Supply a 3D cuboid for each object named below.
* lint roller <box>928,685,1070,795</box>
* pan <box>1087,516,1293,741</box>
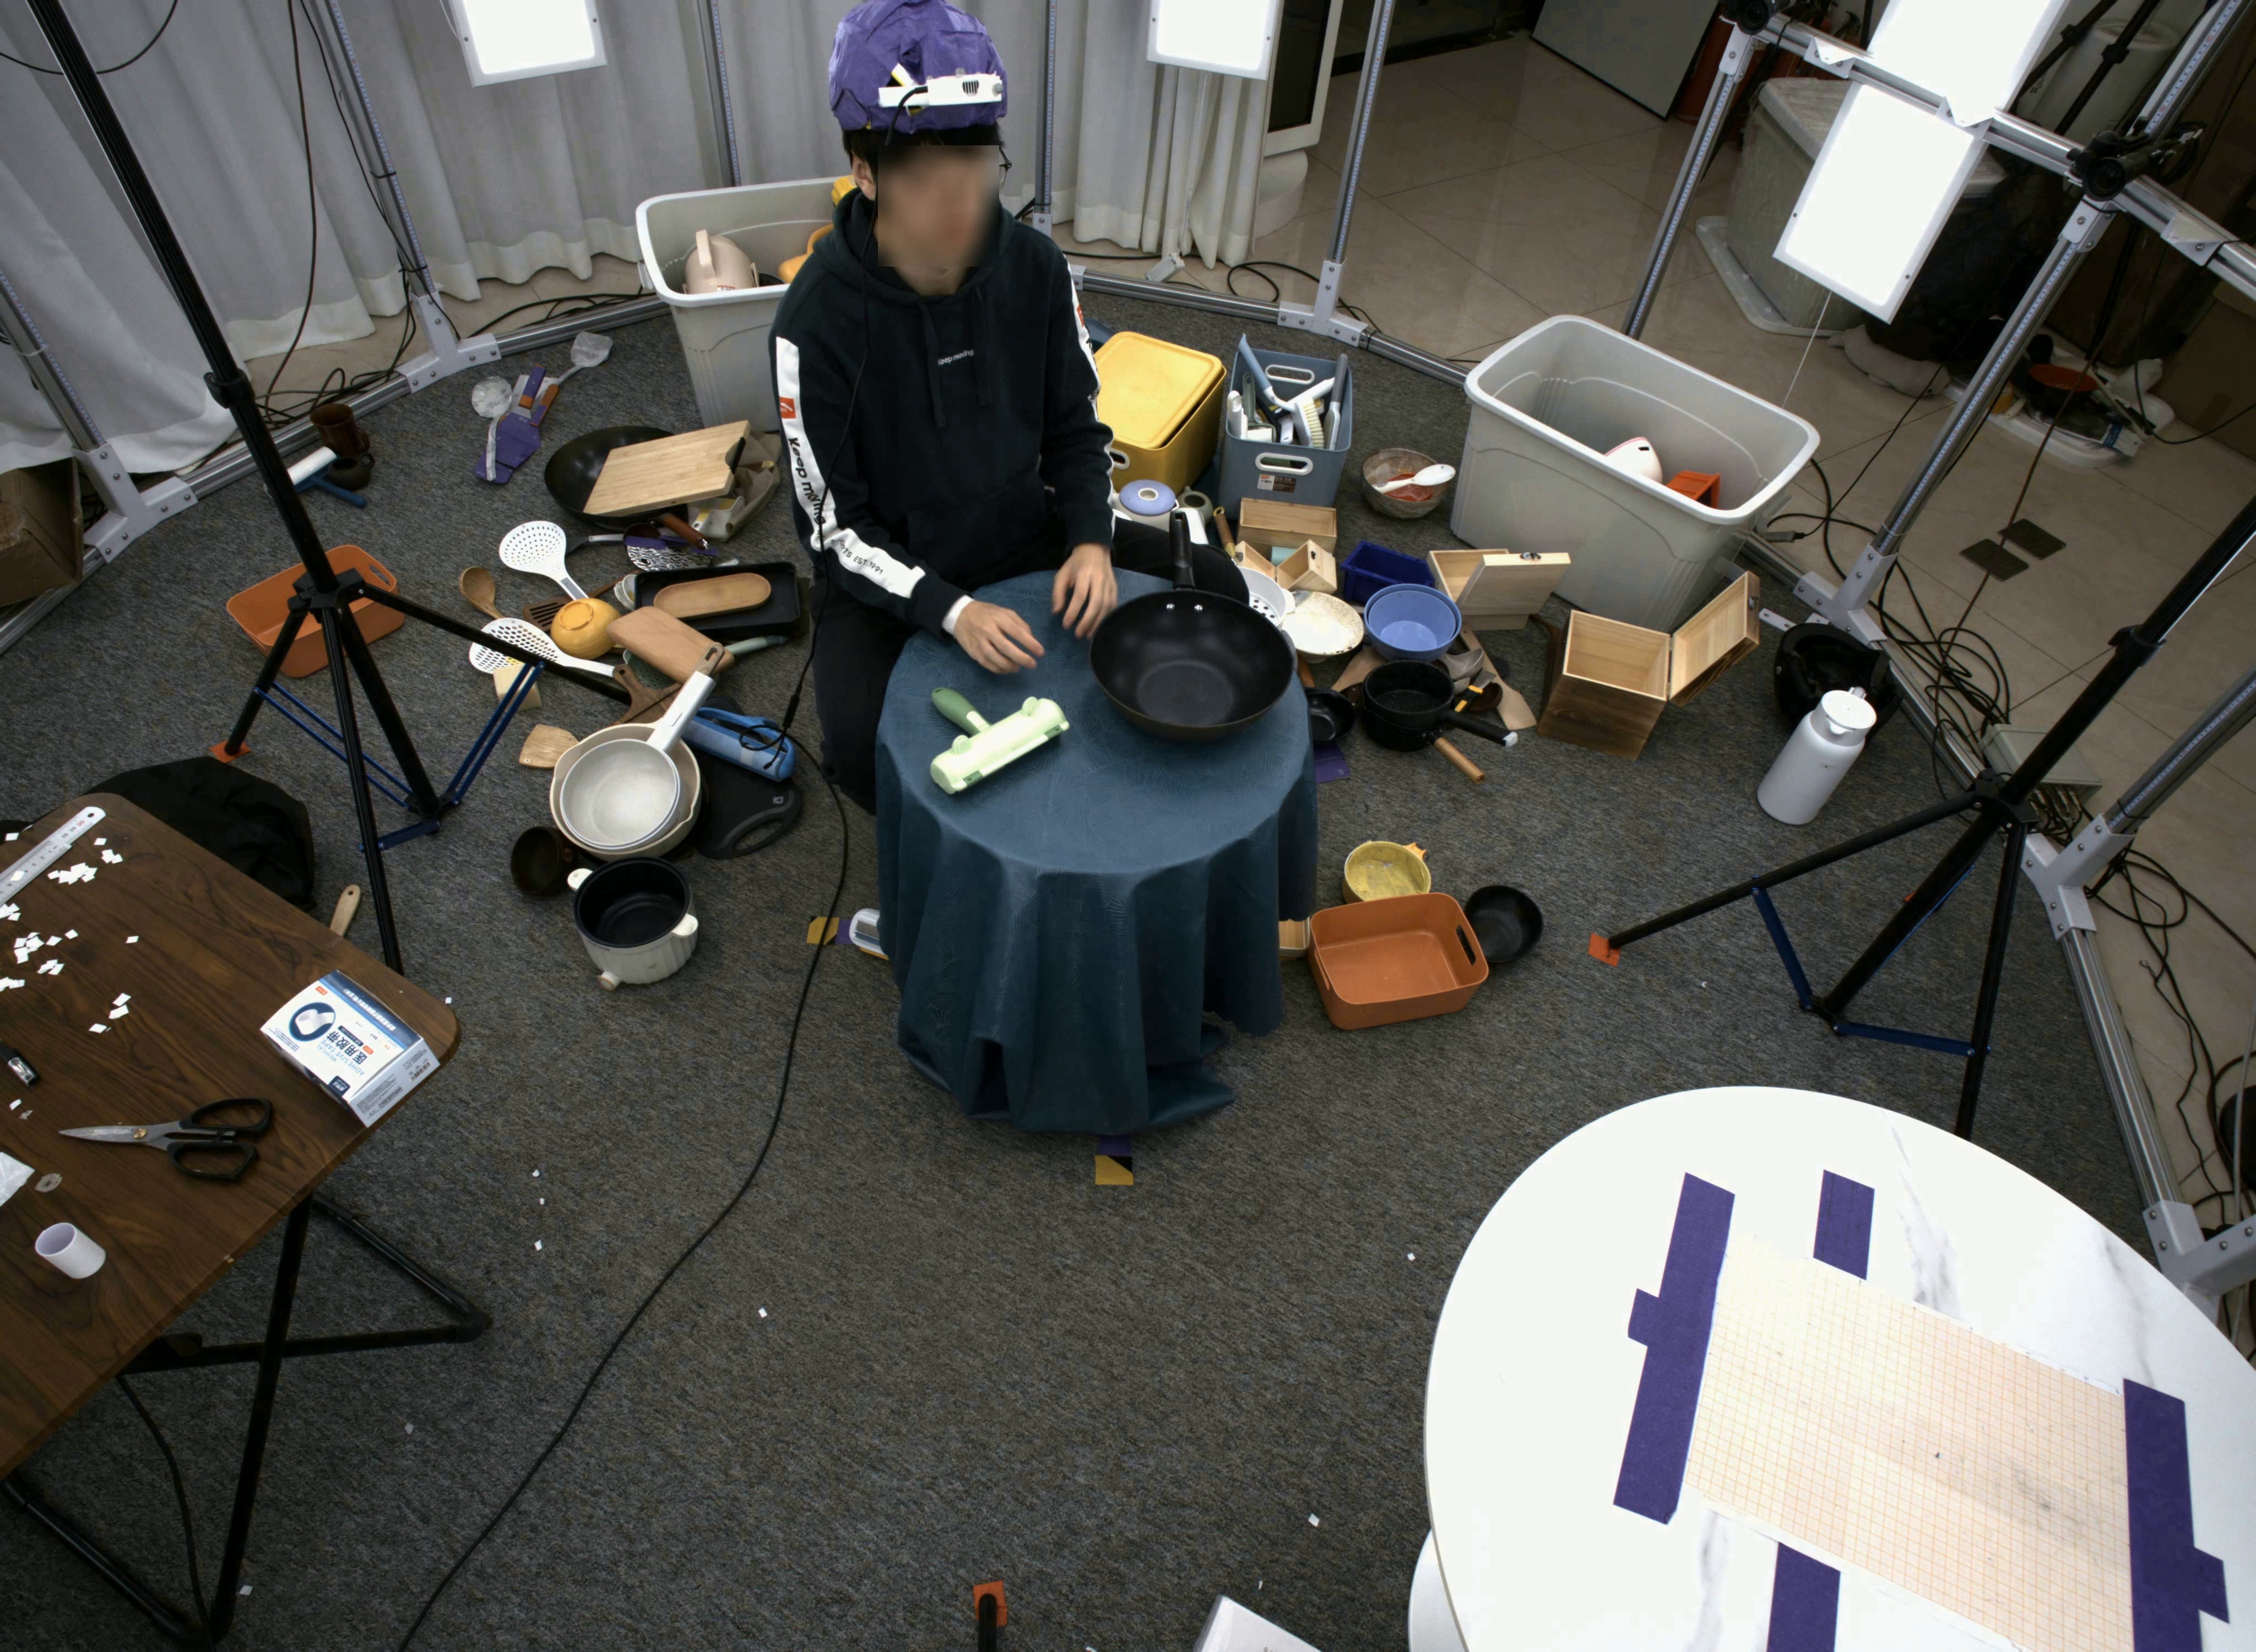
[{"bbox_3d":[-0.207,-0.149,1.735,0.200,0.080,0.186,-32,63,-27],"label":"lint roller"},{"bbox_3d":[0.080,-0.281,1.864,0.288,0.085,0.475,1,48,-4],"label":"pan"}]
